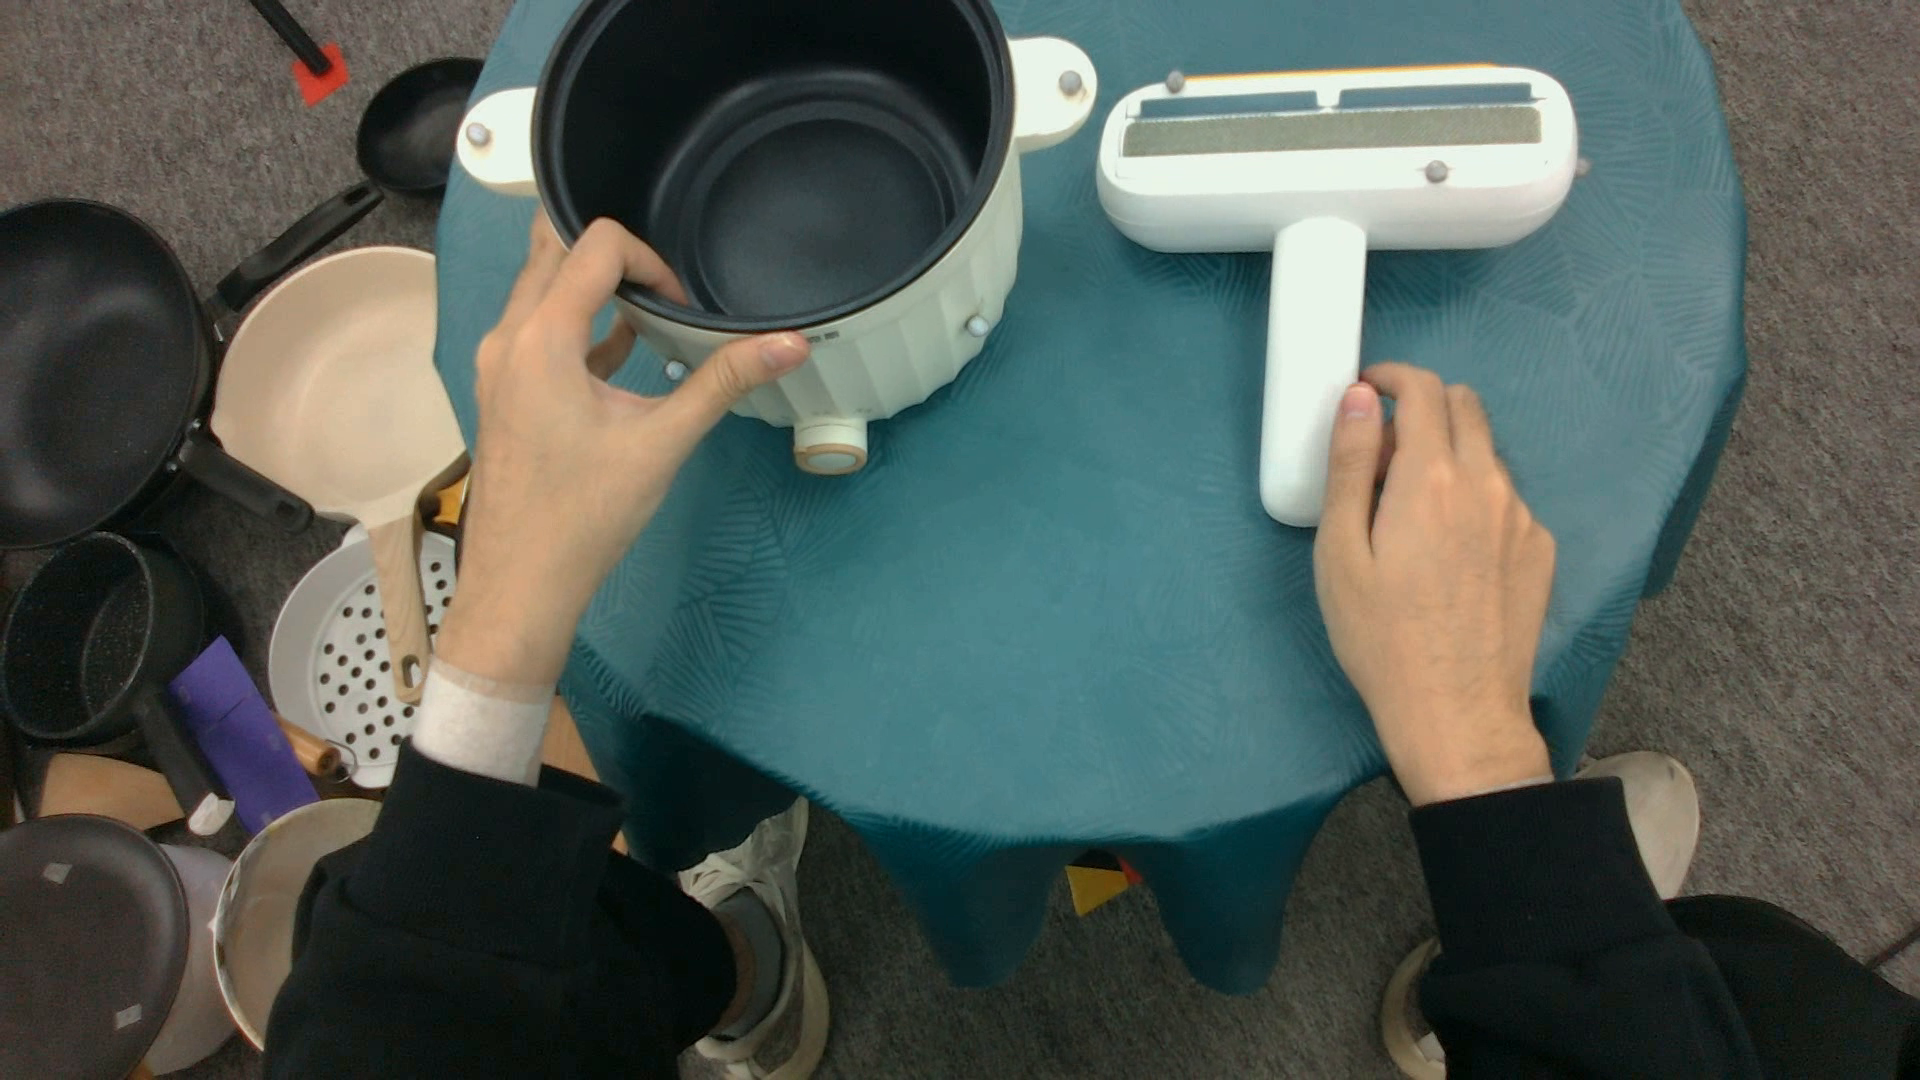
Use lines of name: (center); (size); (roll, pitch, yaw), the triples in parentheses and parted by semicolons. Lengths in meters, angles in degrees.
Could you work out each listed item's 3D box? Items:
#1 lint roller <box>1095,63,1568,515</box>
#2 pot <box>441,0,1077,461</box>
lint roller: (0.144, -0.107, 0.578); (0.192, 0.074, 0.193); (8, 75, 13)
pot: (-0.069, -0.141, 0.570); (0.240, 0.142, 0.191); (-6, 70, 5)
